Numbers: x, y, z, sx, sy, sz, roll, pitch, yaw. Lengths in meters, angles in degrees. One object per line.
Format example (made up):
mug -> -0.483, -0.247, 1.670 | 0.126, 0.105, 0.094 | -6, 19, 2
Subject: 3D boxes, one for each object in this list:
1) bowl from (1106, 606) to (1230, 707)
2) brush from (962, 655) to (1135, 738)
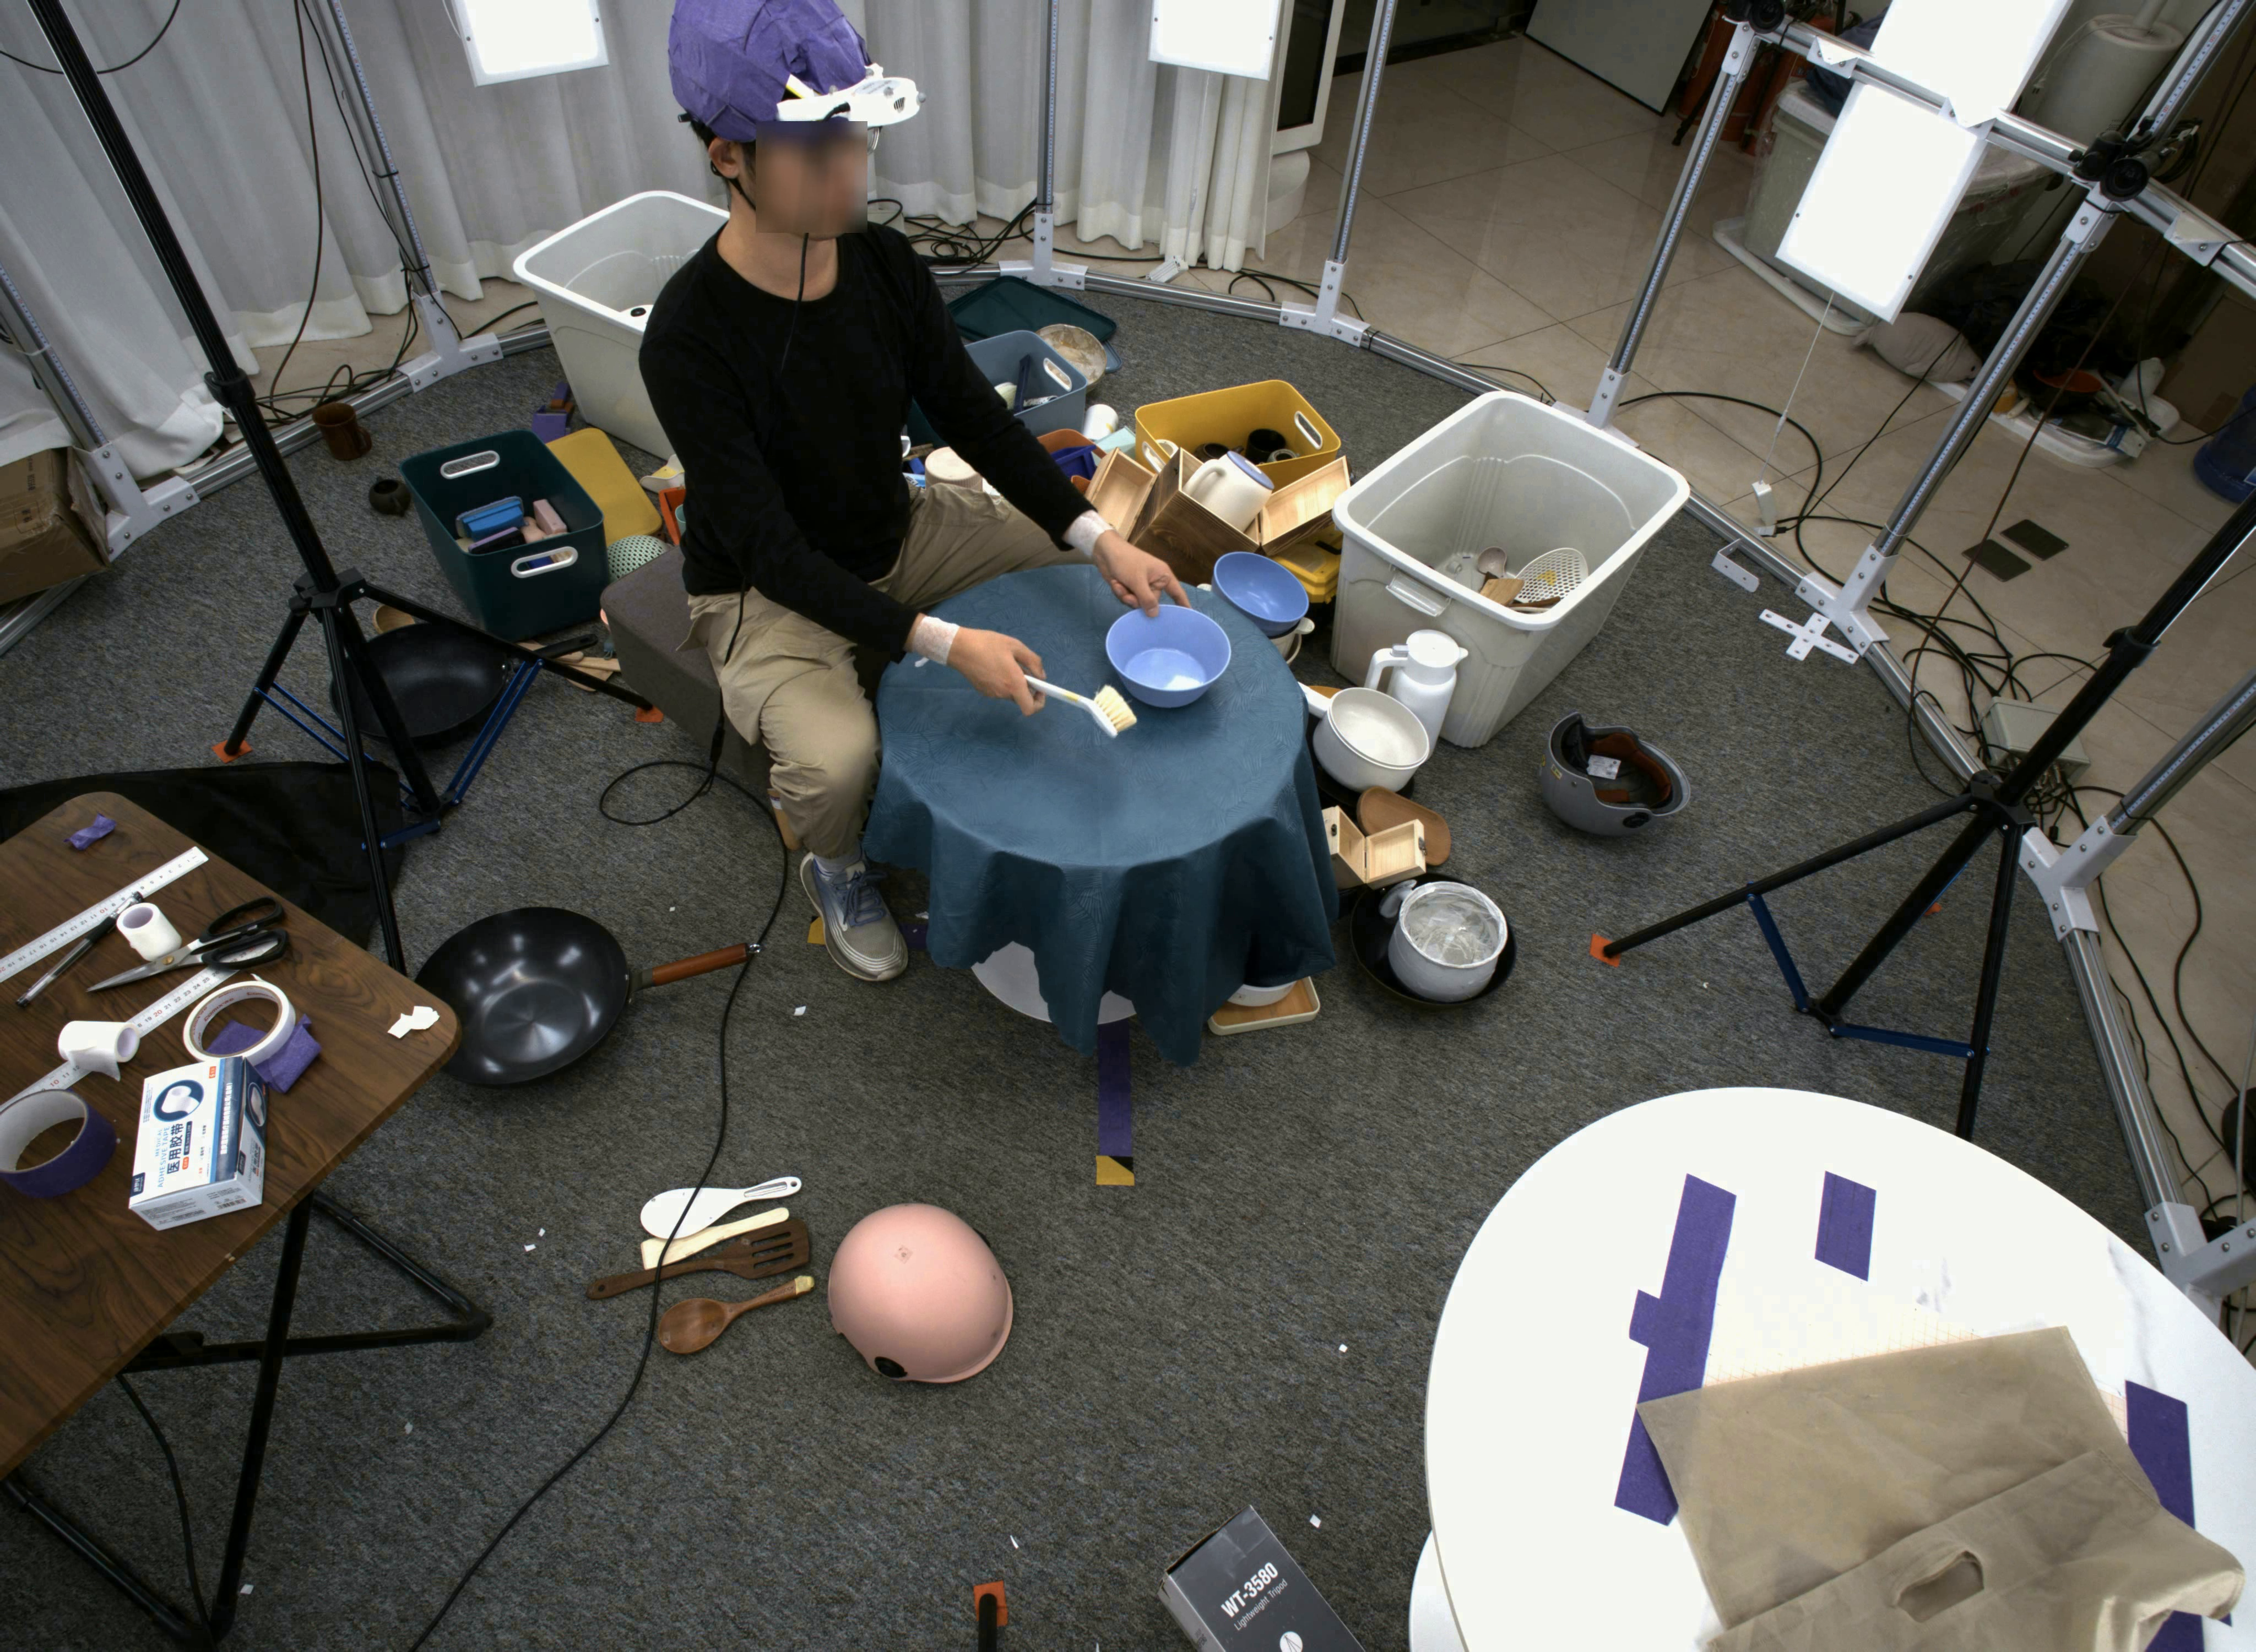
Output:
bowl -> 0.054, -0.233, 1.829 | 0.176, 0.068, 0.180 | 2, 48, -3
brush -> -0.105, -0.192, 1.709 | 0.269, 0.067, 0.057 | 27, 70, 26
